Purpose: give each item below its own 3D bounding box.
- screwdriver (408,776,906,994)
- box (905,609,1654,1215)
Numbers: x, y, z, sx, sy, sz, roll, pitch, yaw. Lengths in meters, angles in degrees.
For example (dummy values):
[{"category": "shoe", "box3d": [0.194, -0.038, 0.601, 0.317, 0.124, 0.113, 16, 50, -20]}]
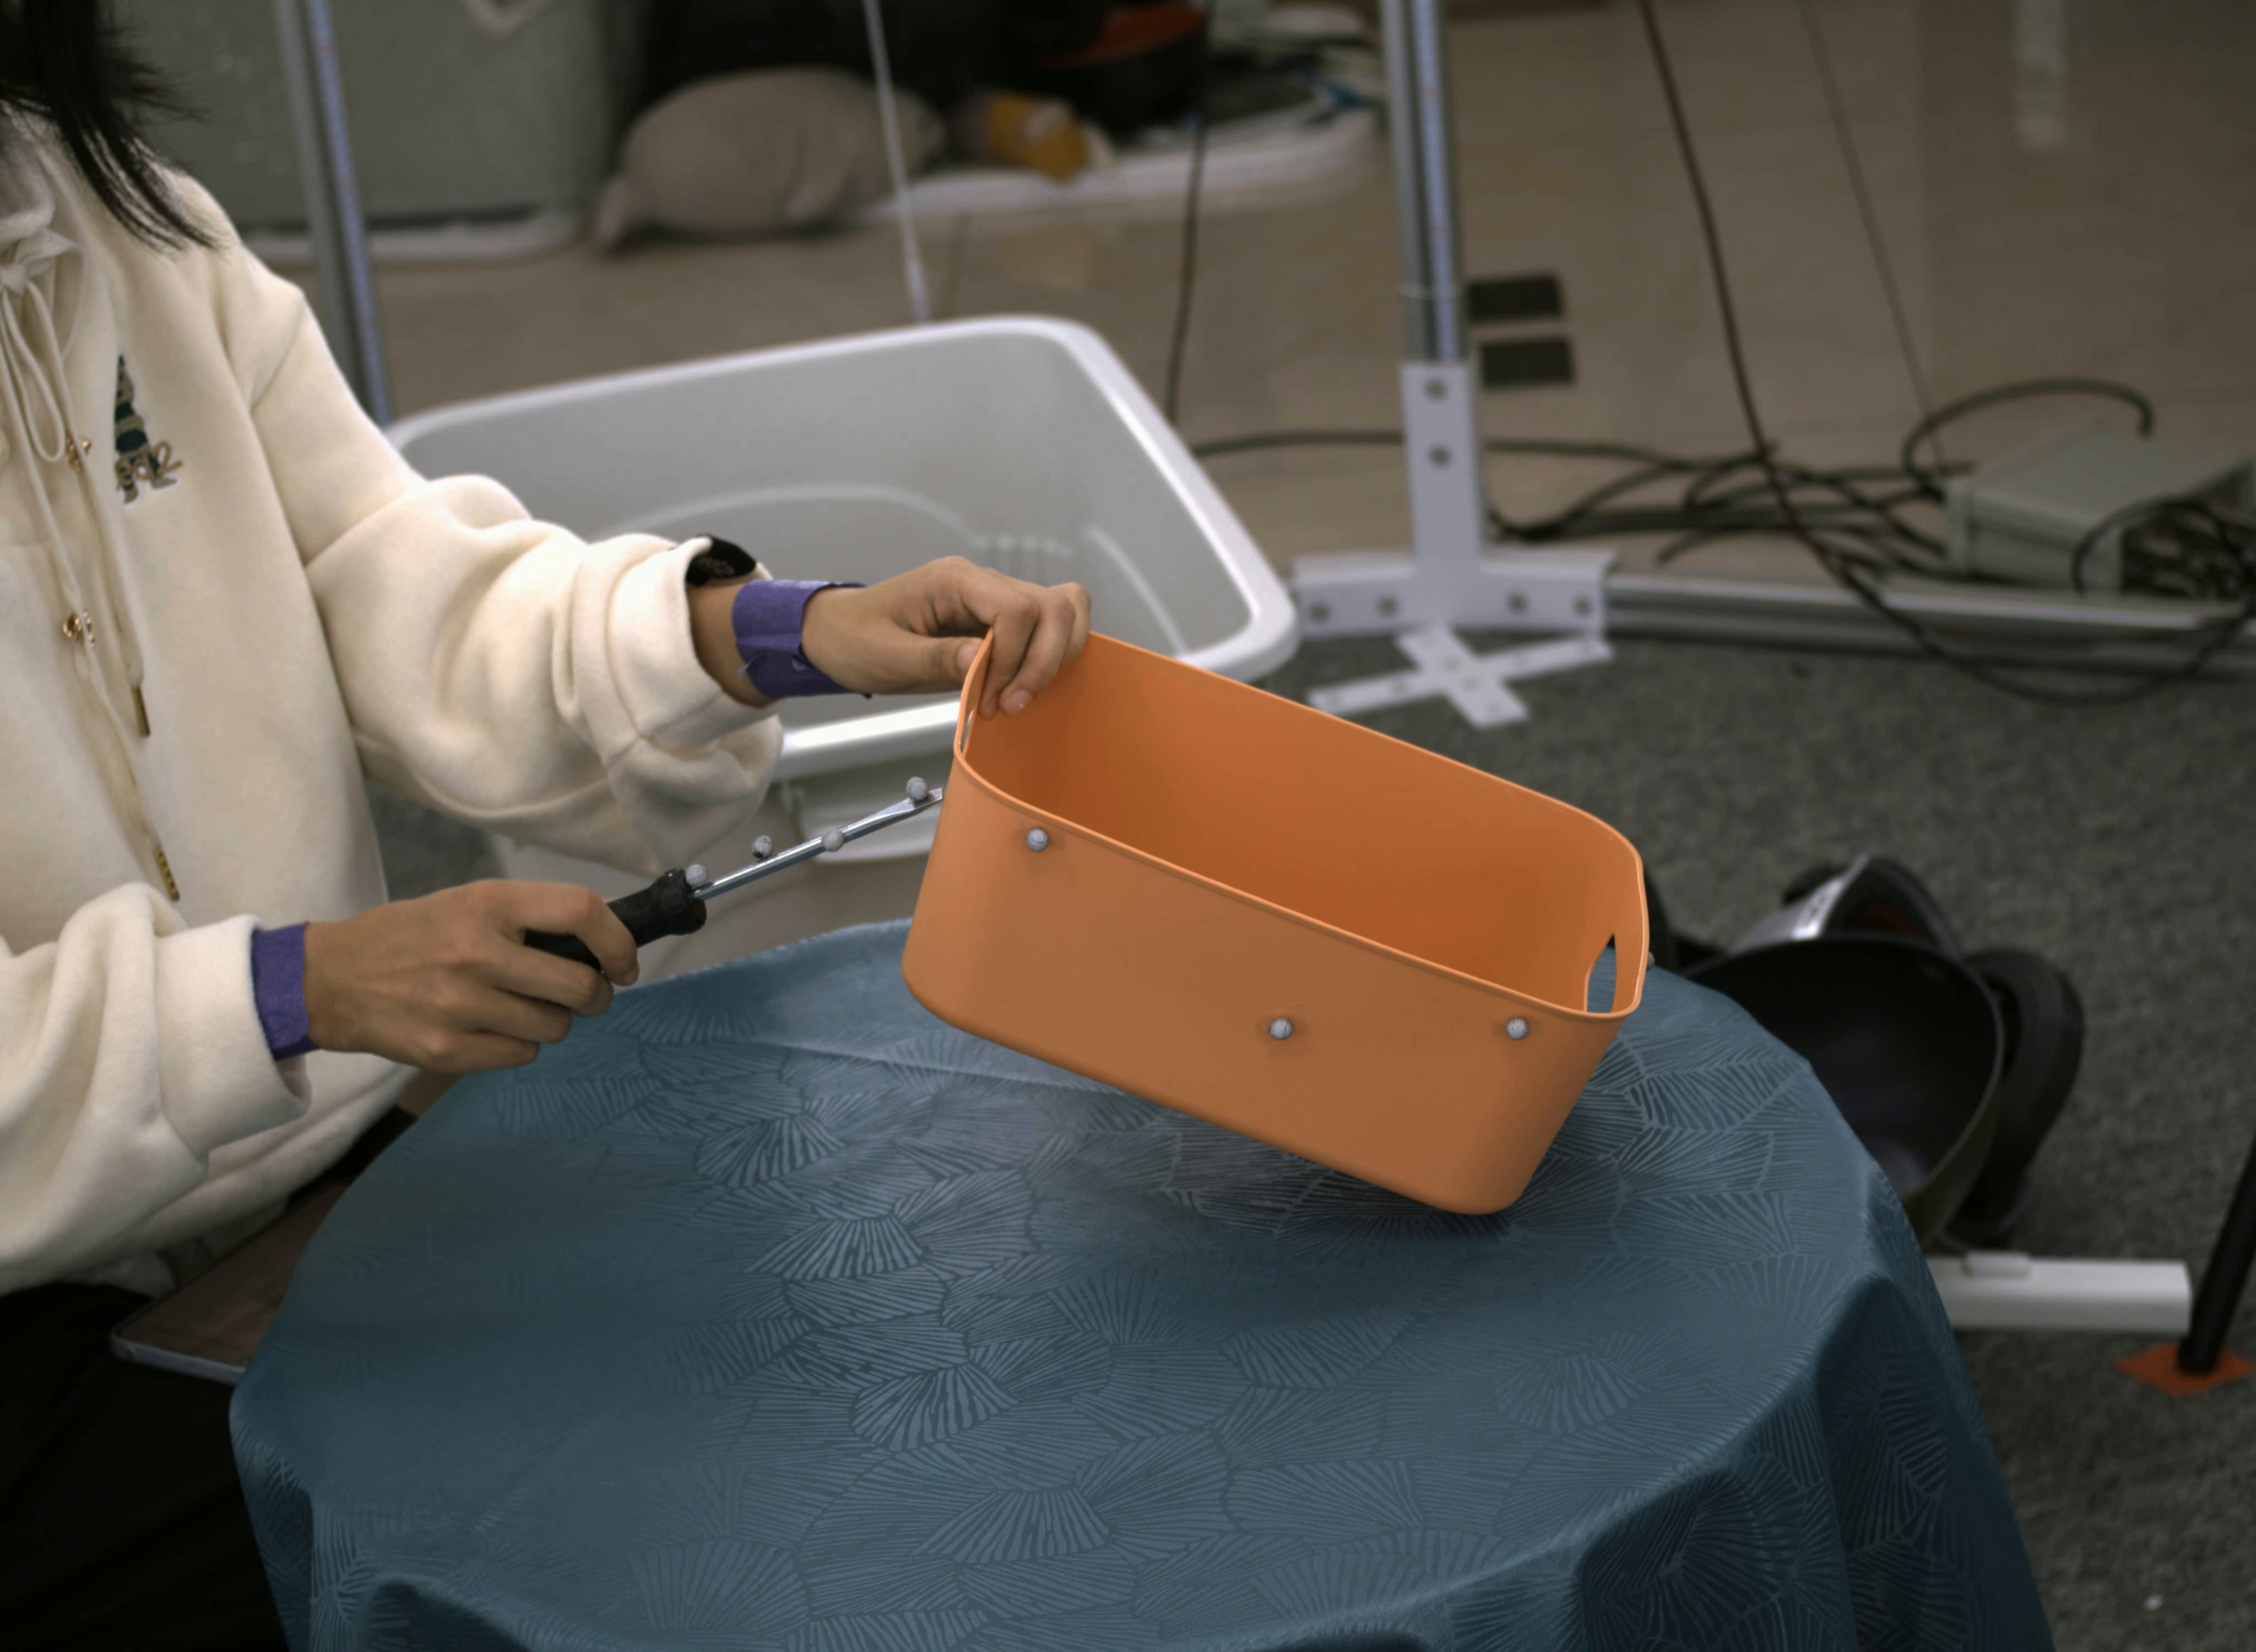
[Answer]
[{"category": "screwdriver", "box3d": [-0.173, 0.016, 2.074, 0.198, 0.032, 0.031, -22, 25, 6]}, {"category": "box", "box3d": [0.052, 0.034, 2.128, 0.273, 0.104, 0.196, 21, 24, -3]}]
